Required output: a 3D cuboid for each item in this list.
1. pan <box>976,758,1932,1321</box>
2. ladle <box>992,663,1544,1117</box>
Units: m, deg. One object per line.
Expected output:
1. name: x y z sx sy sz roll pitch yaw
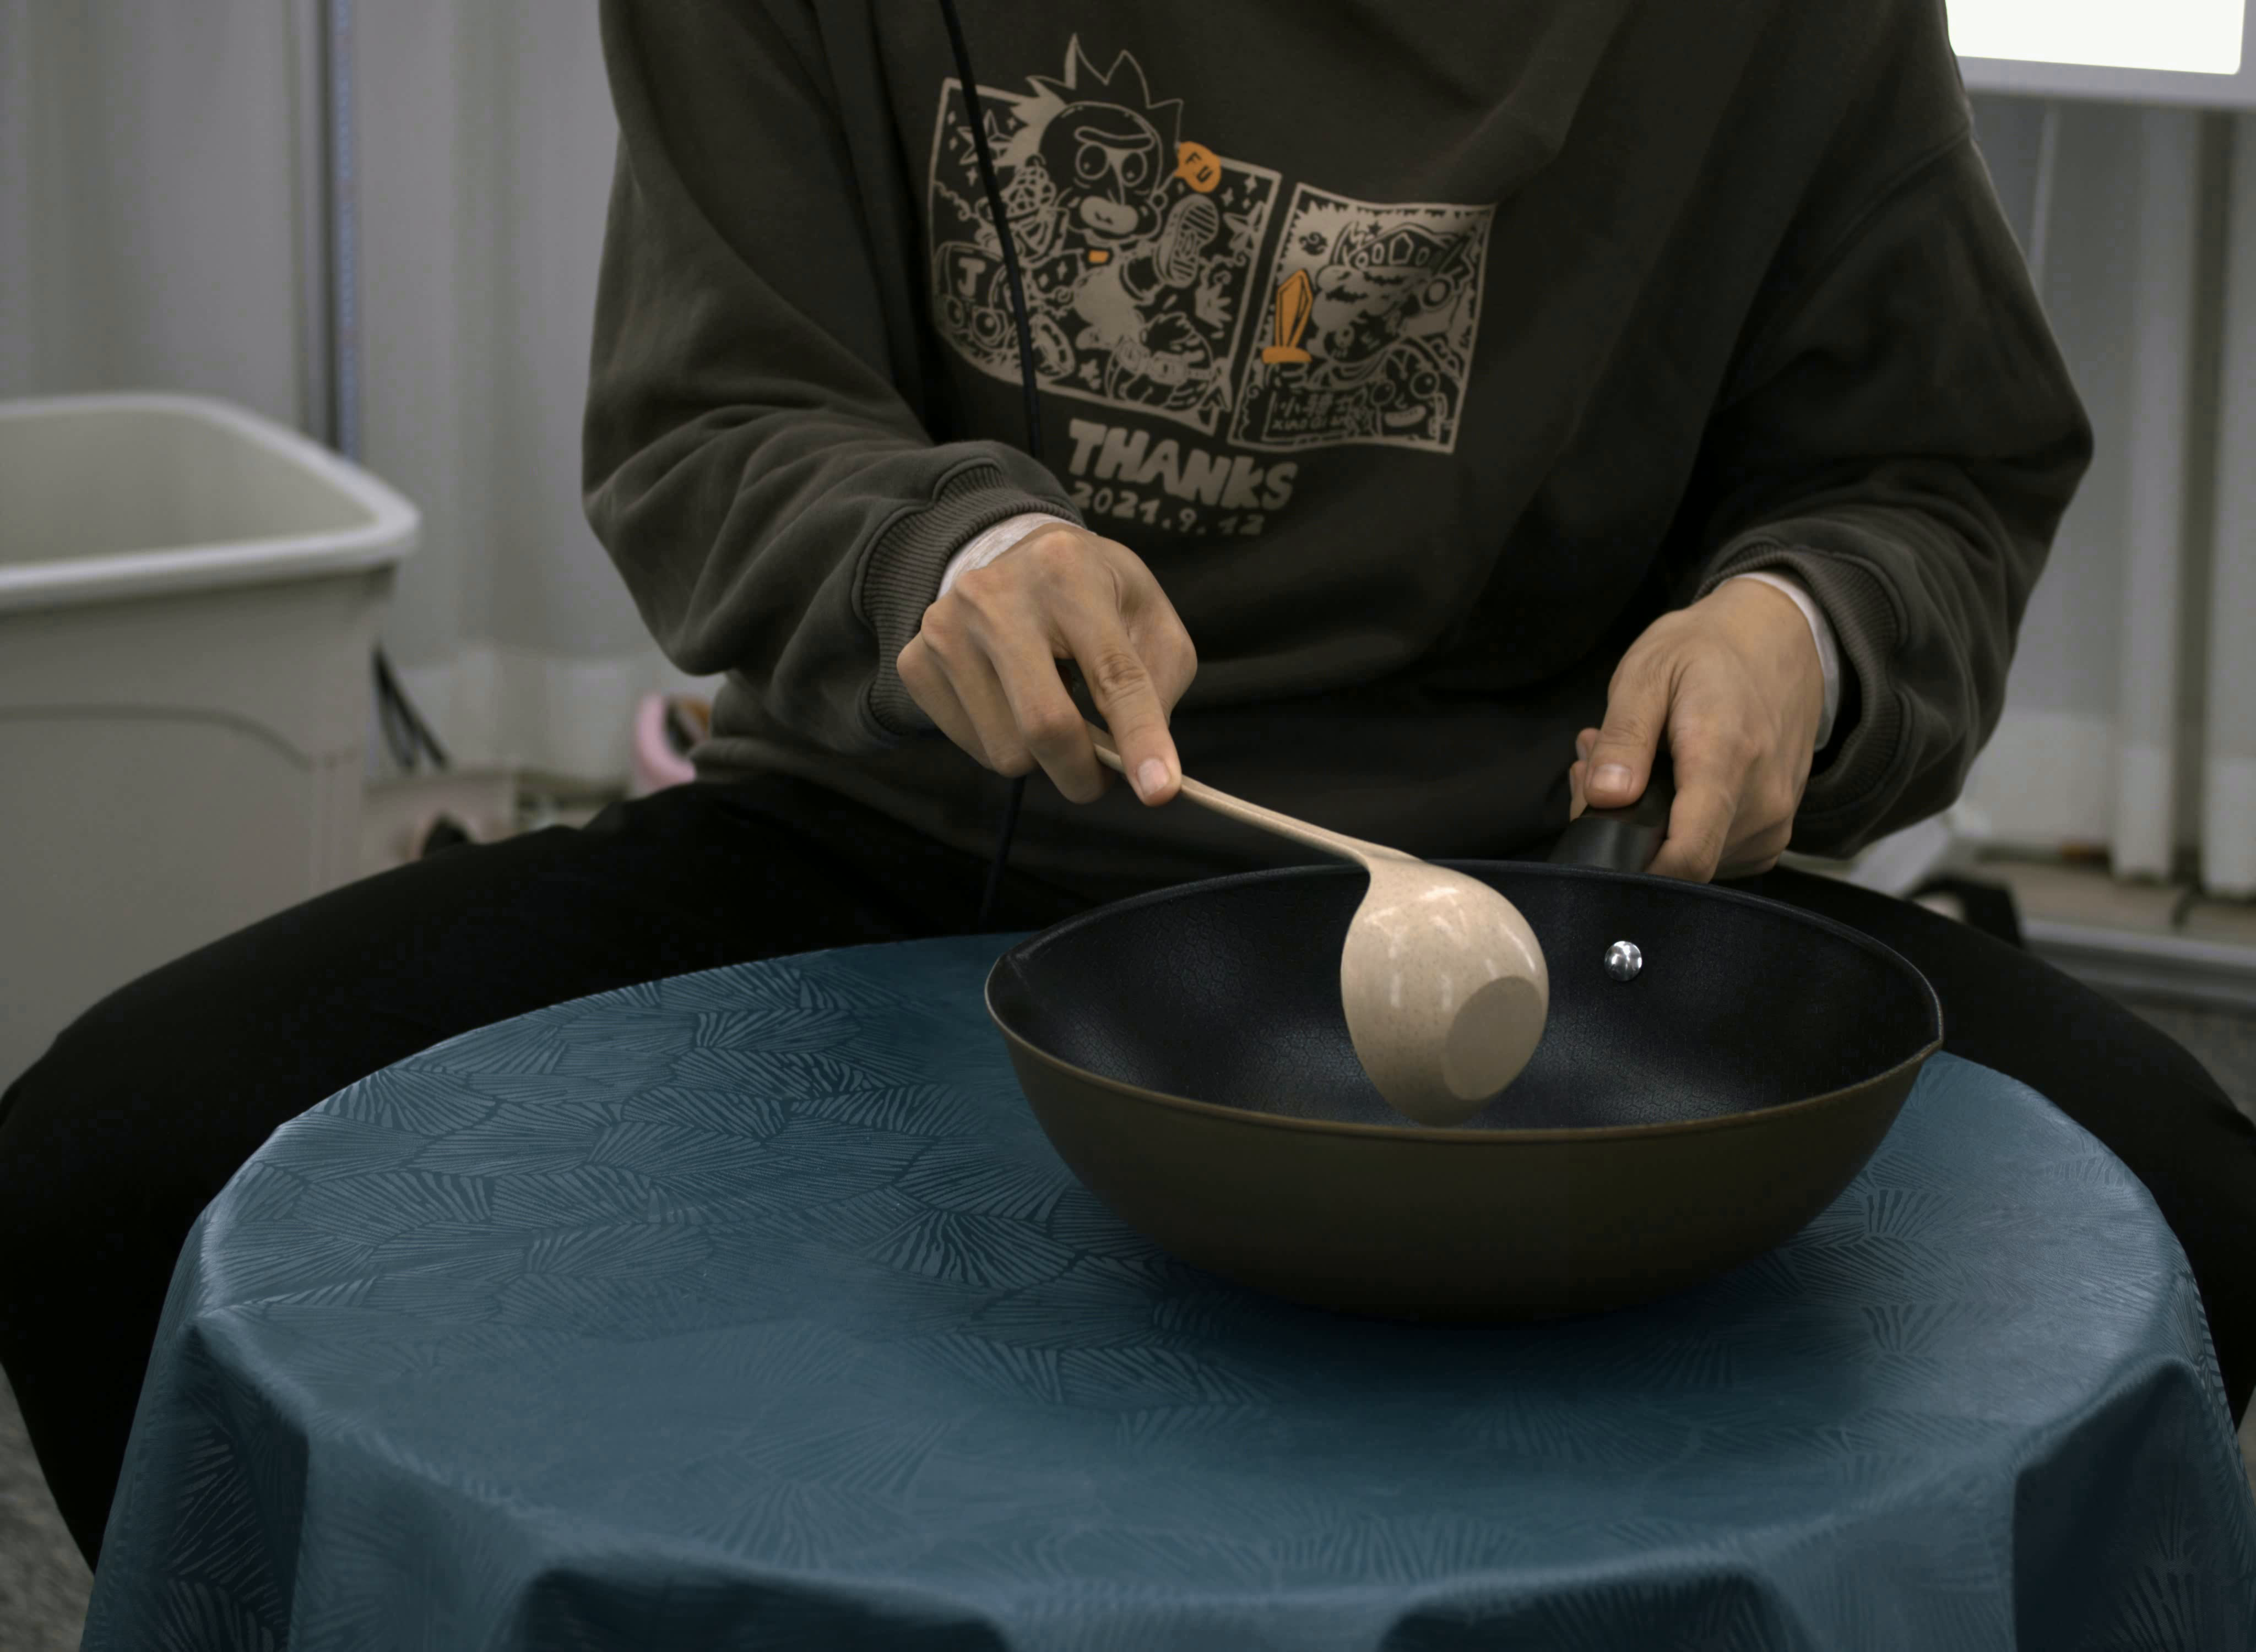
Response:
1. pan: 0.124 0.063 1.659 0.285 0.087 0.463 5 15 17
2. ladle: 0.029 0.019 1.618 0.072 0.073 0.251 -2 18 -39
